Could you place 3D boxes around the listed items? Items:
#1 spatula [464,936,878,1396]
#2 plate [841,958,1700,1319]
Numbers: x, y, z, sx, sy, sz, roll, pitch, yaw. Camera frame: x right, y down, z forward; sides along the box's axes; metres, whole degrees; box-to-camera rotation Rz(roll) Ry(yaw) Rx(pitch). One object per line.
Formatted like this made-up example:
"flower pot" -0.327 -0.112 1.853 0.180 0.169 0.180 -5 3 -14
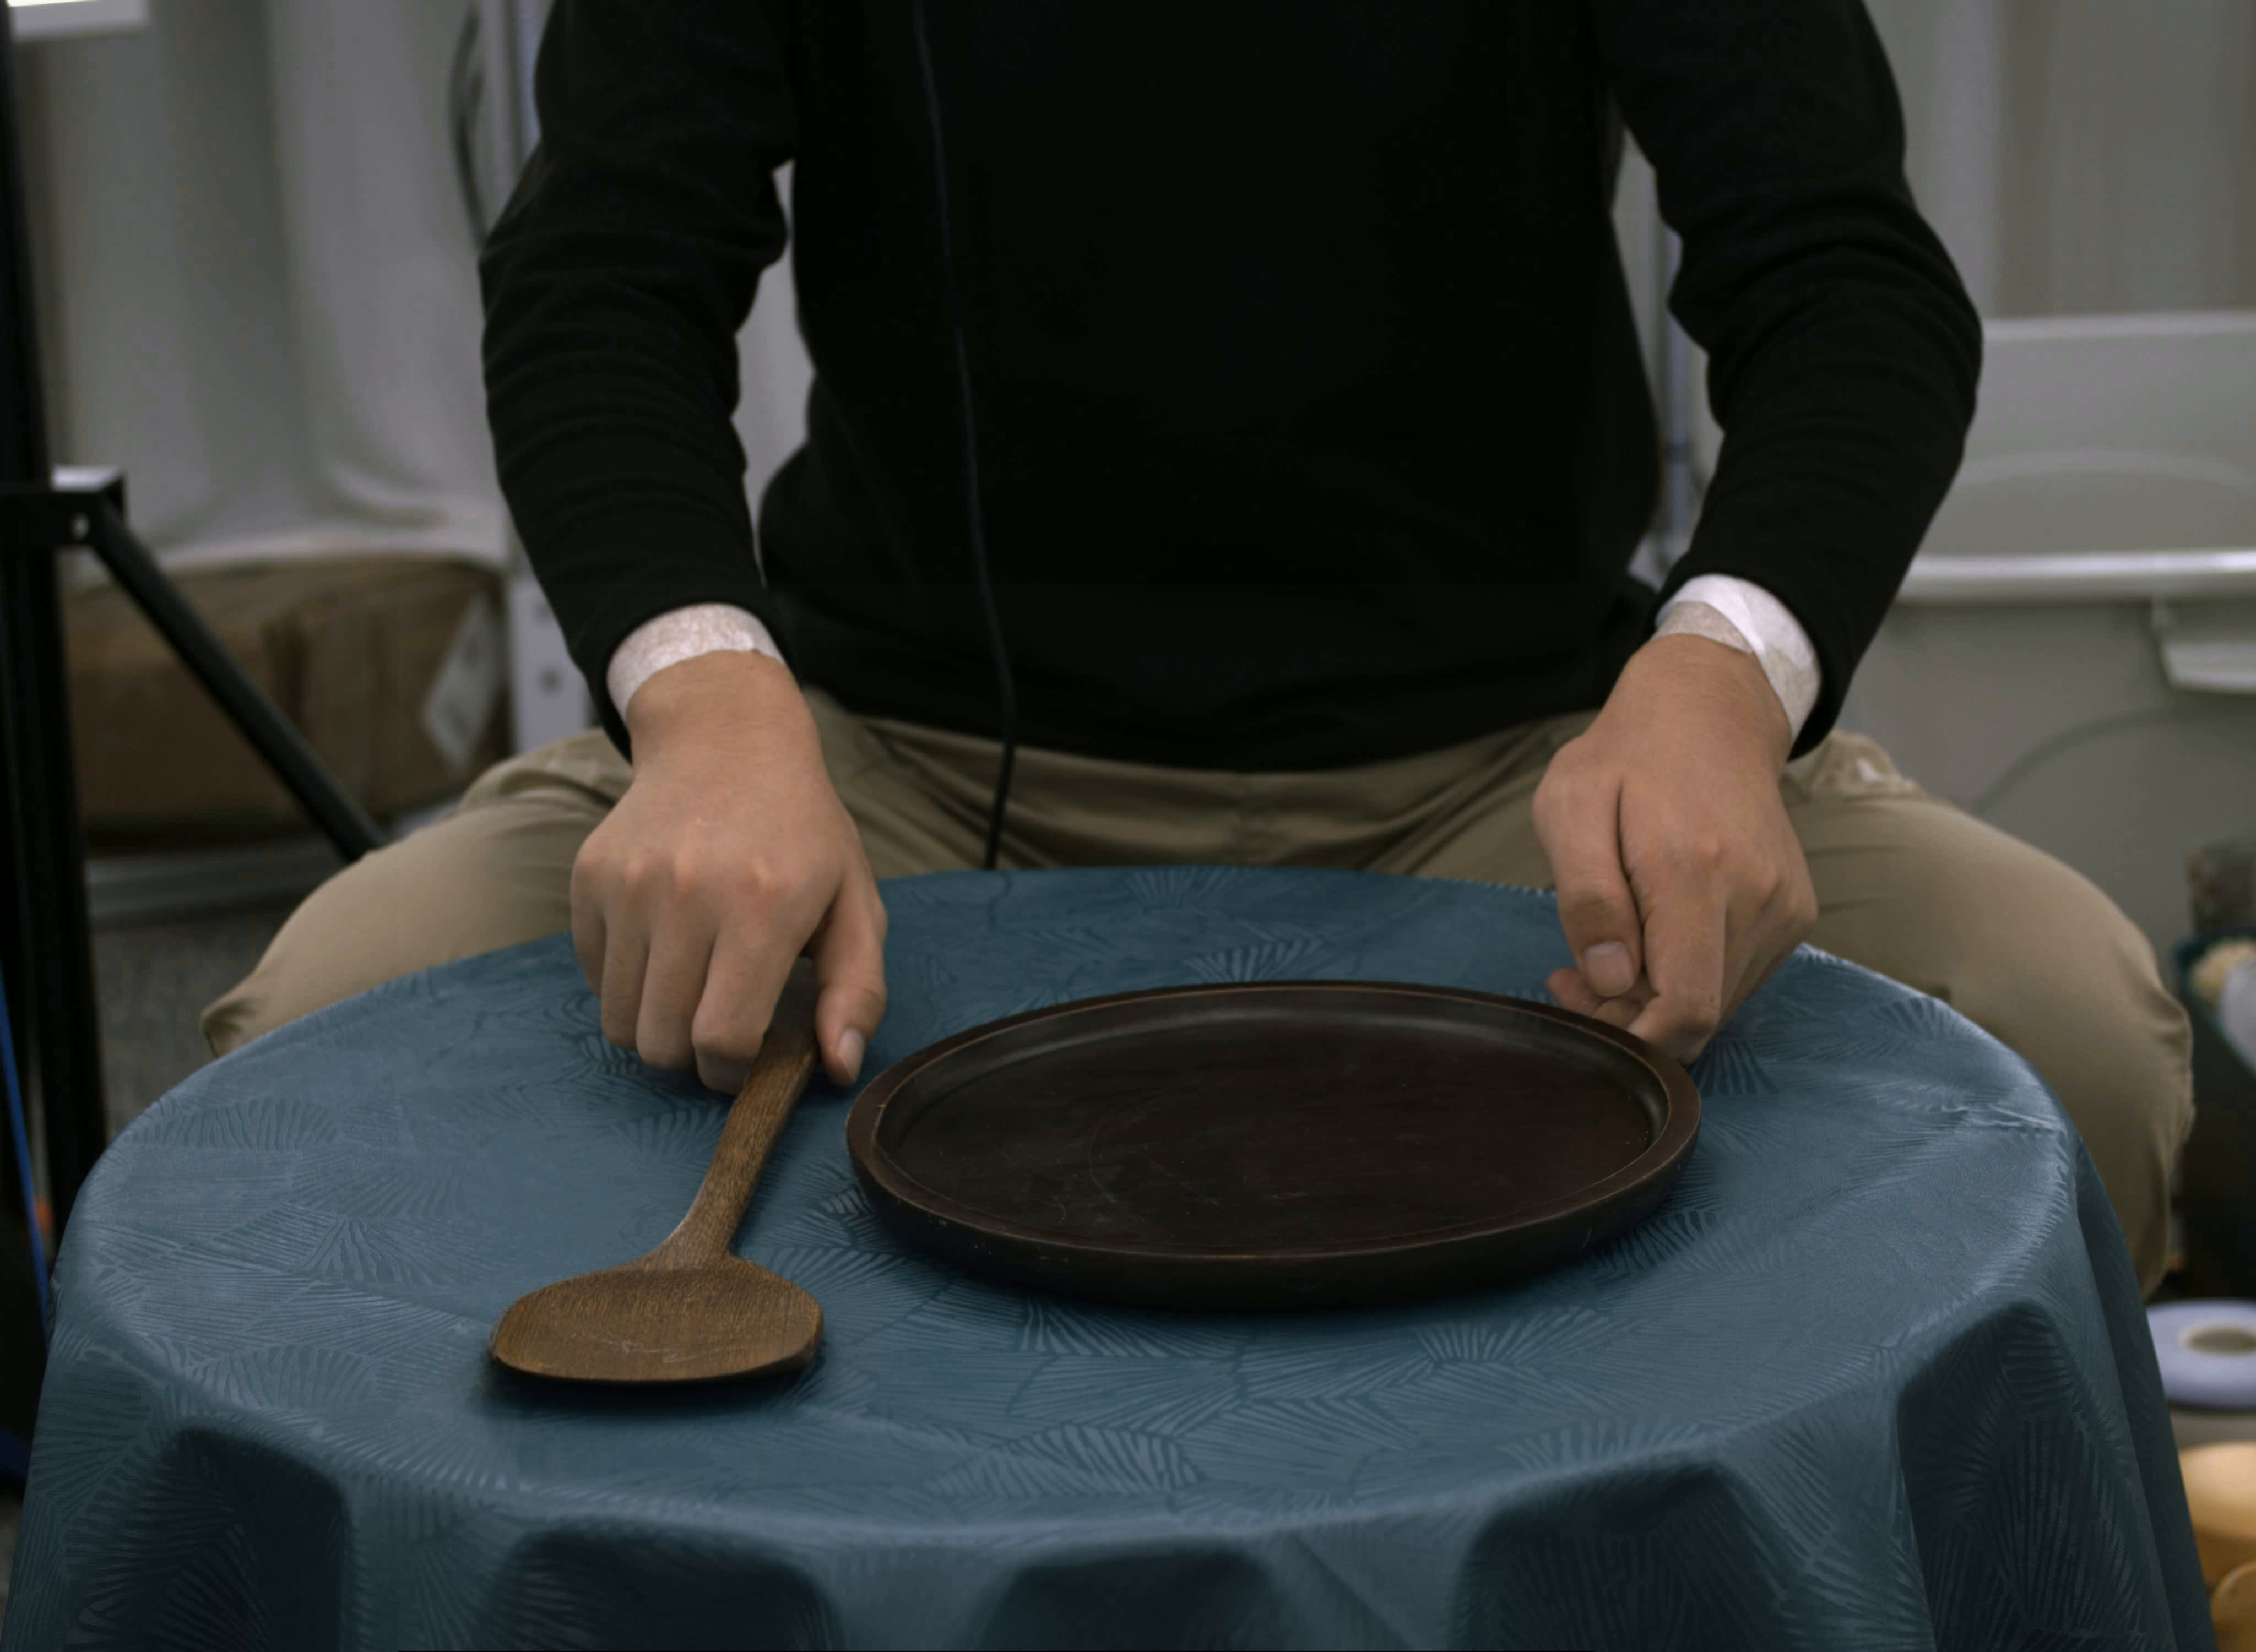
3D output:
"spatula" -0.114 0.094 1.589 0.096 0.016 0.385 0 17 6
"plate" 0.042 0.092 1.560 0.253 0.029 0.256 -4 16 0
